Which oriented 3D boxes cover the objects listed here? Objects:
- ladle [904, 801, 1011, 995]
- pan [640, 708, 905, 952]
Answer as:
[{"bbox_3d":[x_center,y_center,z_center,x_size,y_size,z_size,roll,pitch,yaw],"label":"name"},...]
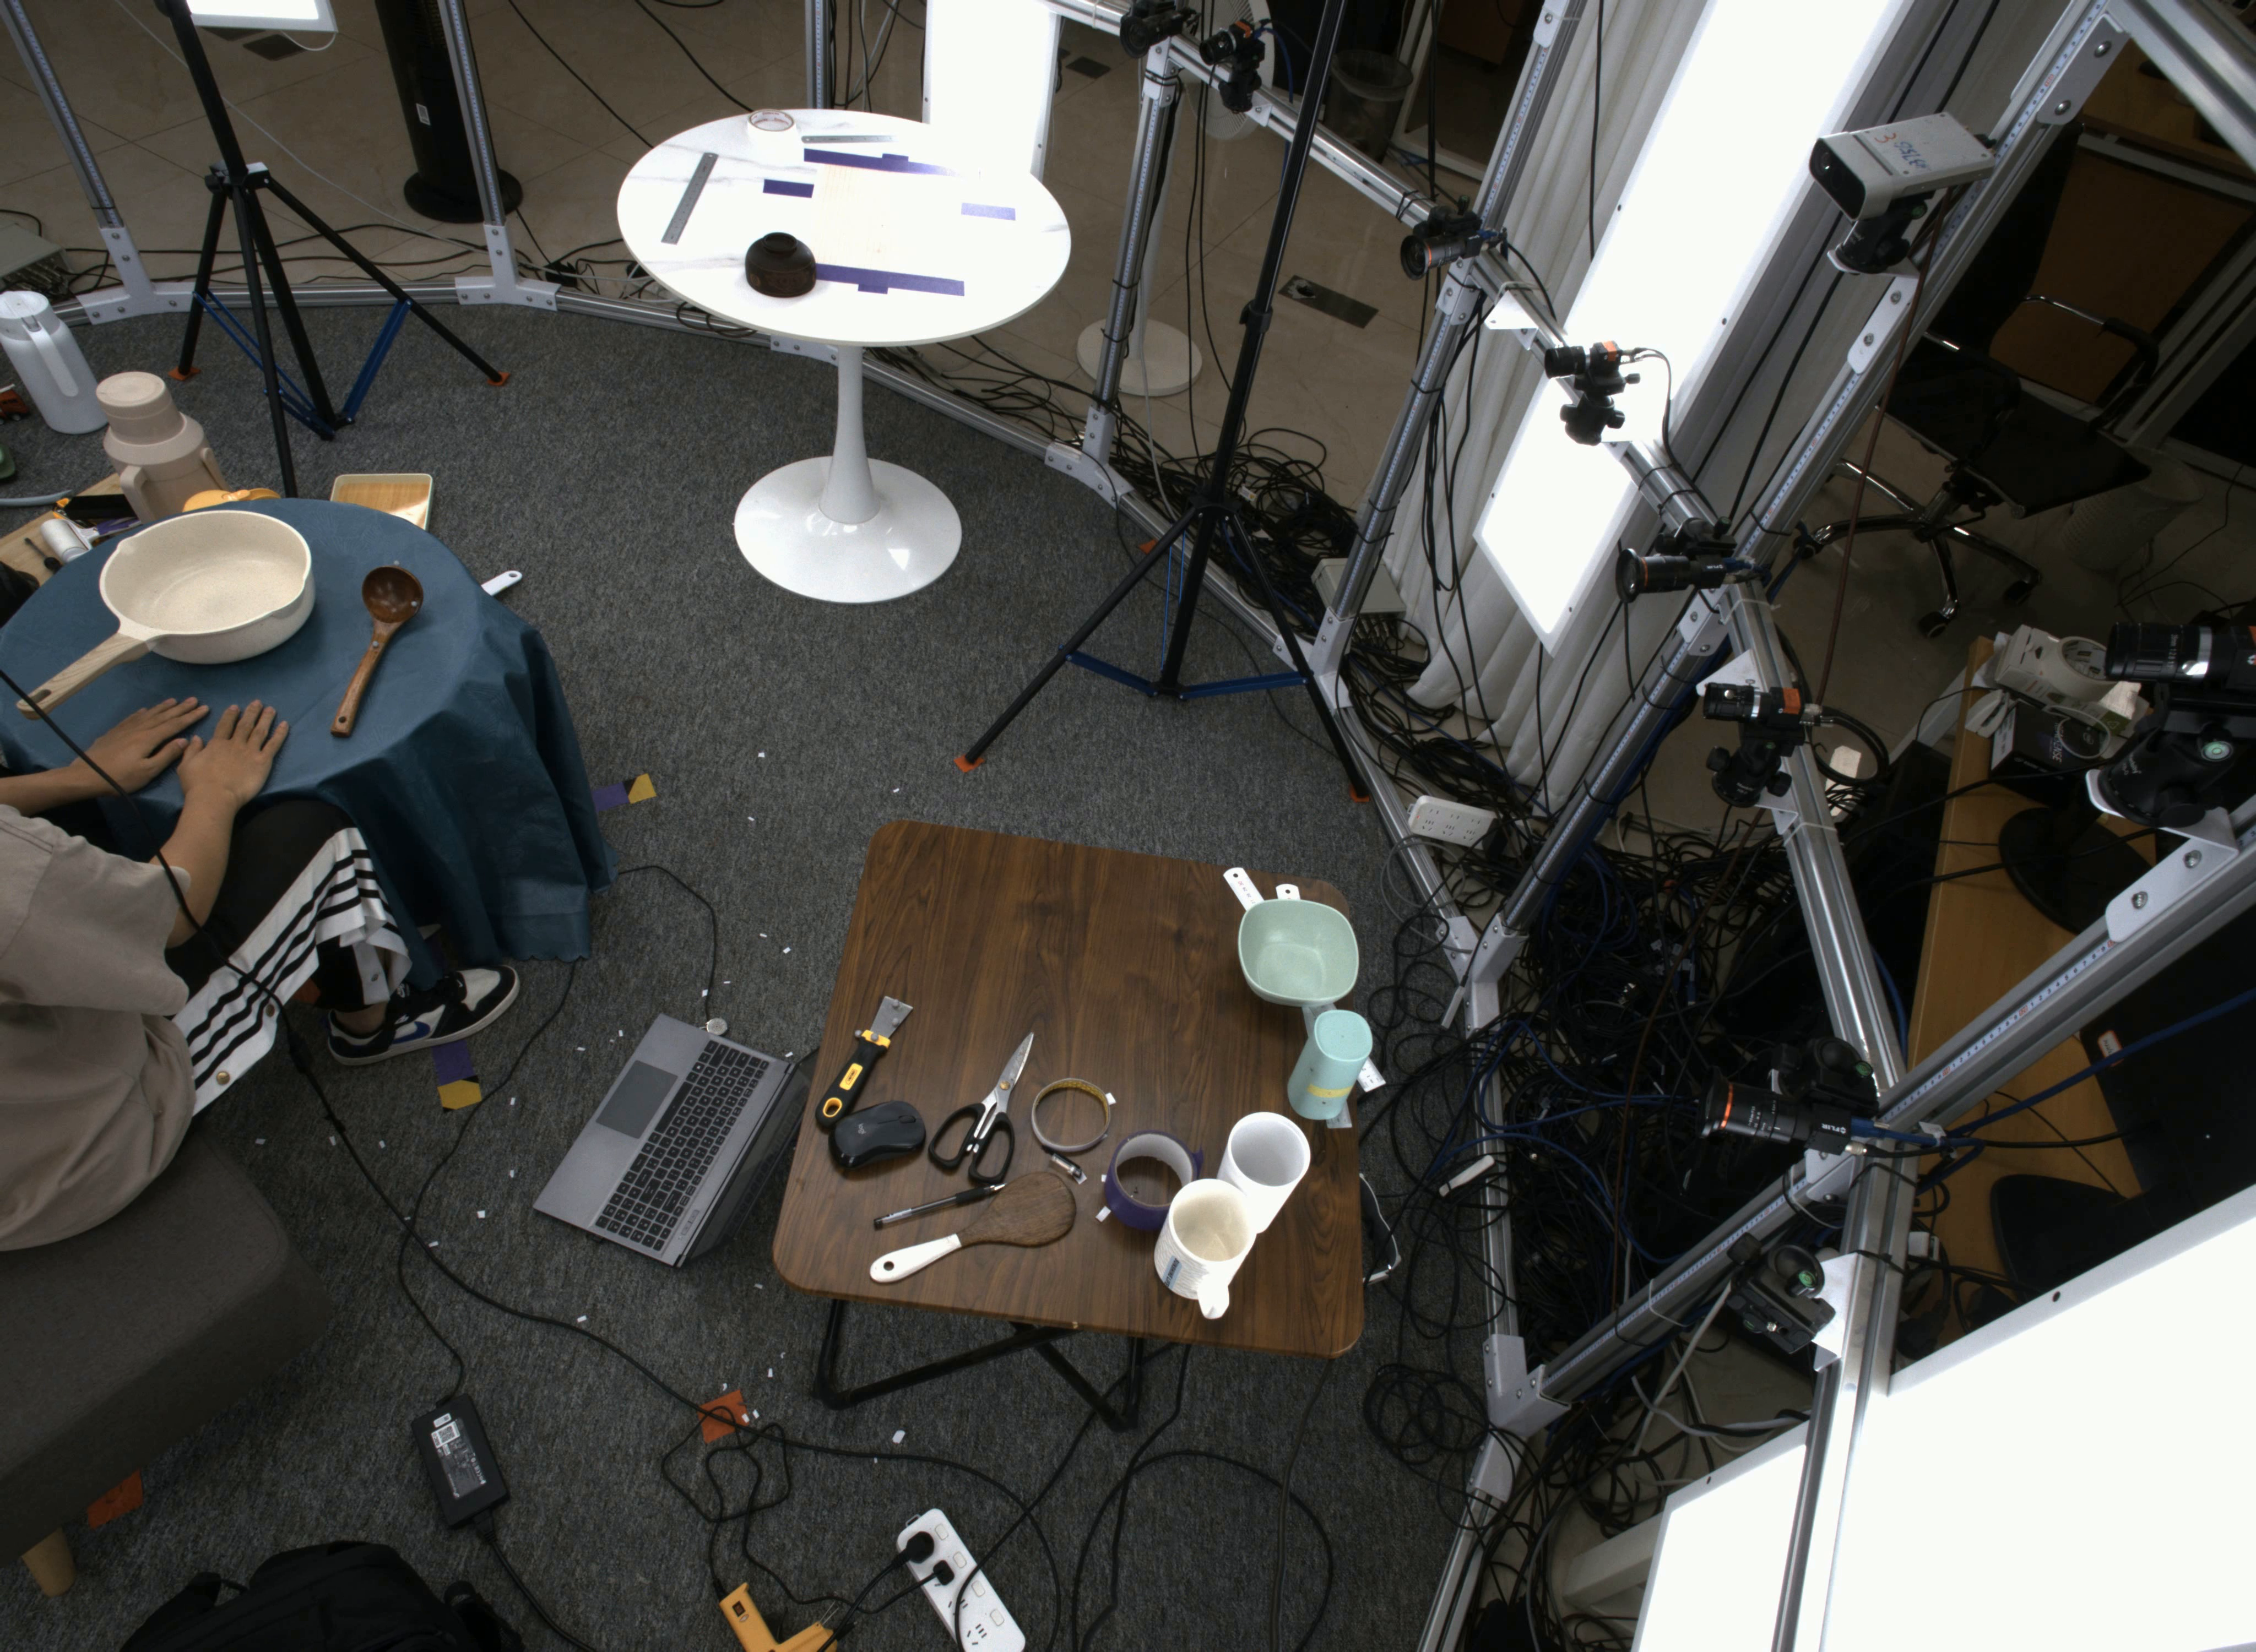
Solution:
[{"bbox_3d":[-0.223,0.085,1.669,0.081,0.078,0.271,19,52,1],"label":"ladle"},{"bbox_3d":[-0.463,0.021,1.646,0.259,0.104,0.433,30,53,9],"label":"pan"}]
